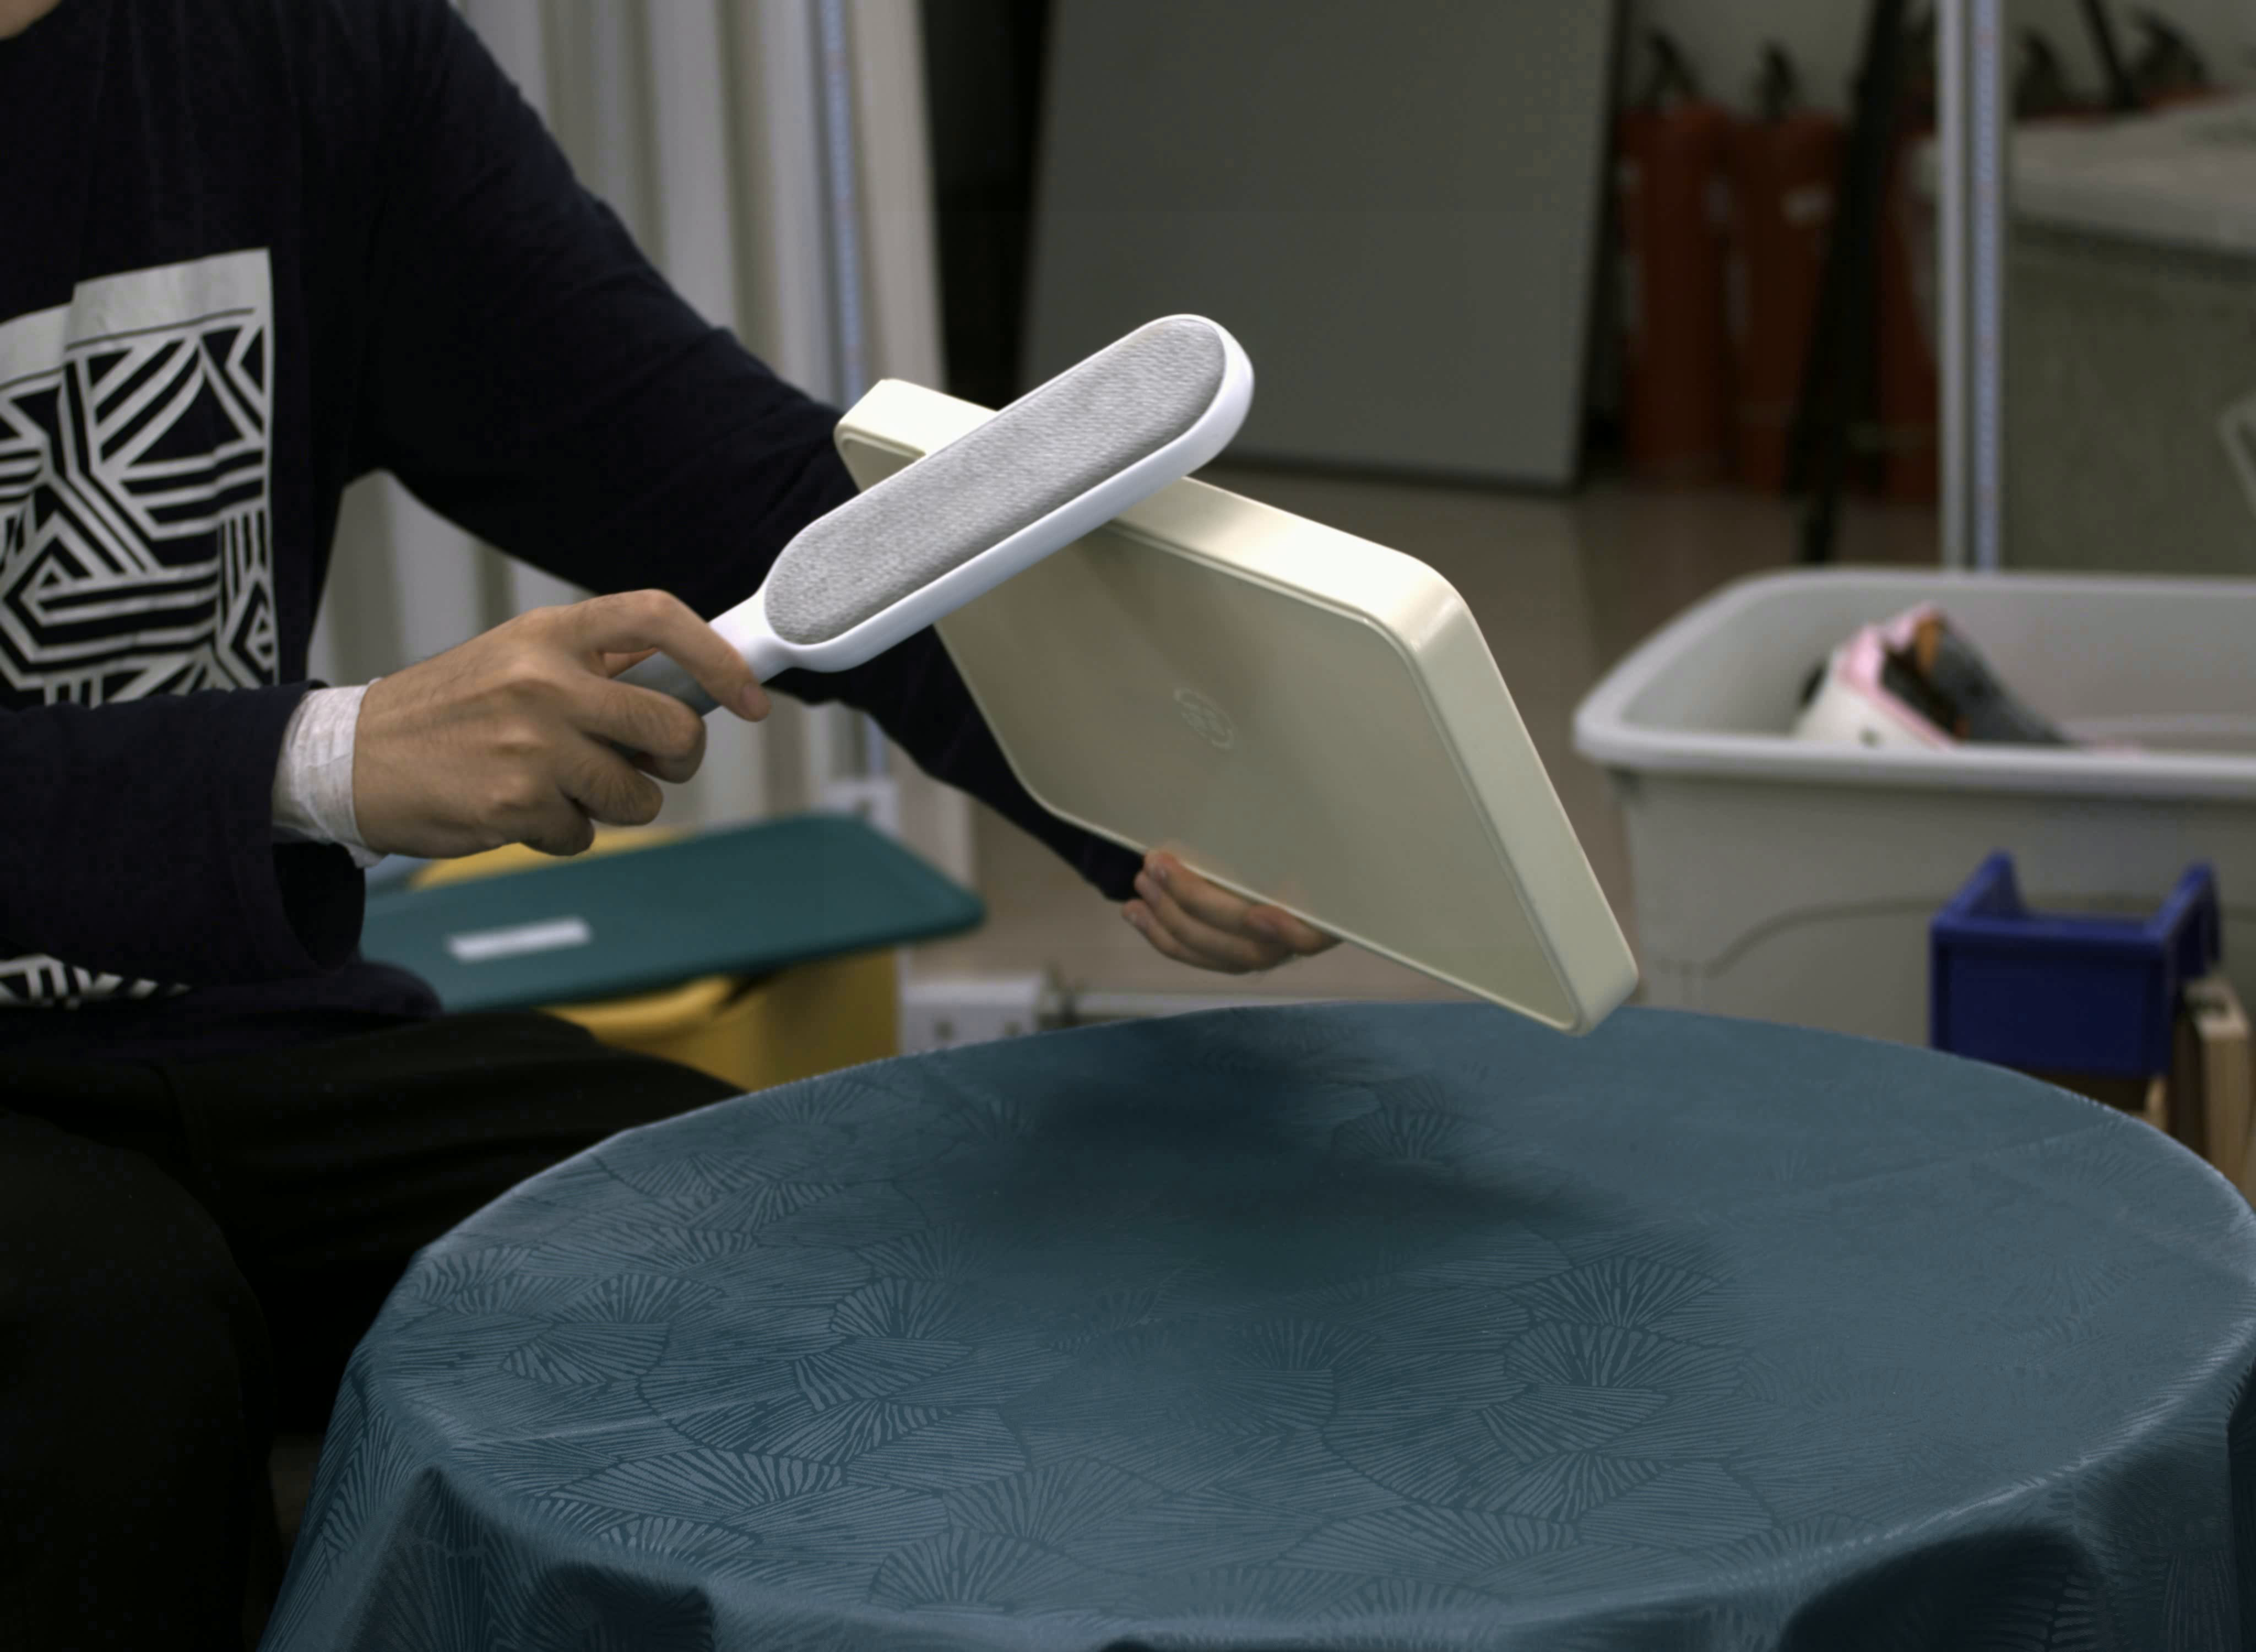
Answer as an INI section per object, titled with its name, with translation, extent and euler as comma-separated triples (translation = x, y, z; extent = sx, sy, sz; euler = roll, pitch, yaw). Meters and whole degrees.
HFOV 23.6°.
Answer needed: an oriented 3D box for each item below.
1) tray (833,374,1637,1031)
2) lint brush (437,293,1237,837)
[tray]
translation = 0.031, -0.043, 1.772
extent = 0.027, 0.191, 0.303
euler = -42, 36, -22
[lint brush]
translation = -0.095, -0.078, 1.712
extent = 0.309, 0.061, 0.020
euler = -30, -39, 18
